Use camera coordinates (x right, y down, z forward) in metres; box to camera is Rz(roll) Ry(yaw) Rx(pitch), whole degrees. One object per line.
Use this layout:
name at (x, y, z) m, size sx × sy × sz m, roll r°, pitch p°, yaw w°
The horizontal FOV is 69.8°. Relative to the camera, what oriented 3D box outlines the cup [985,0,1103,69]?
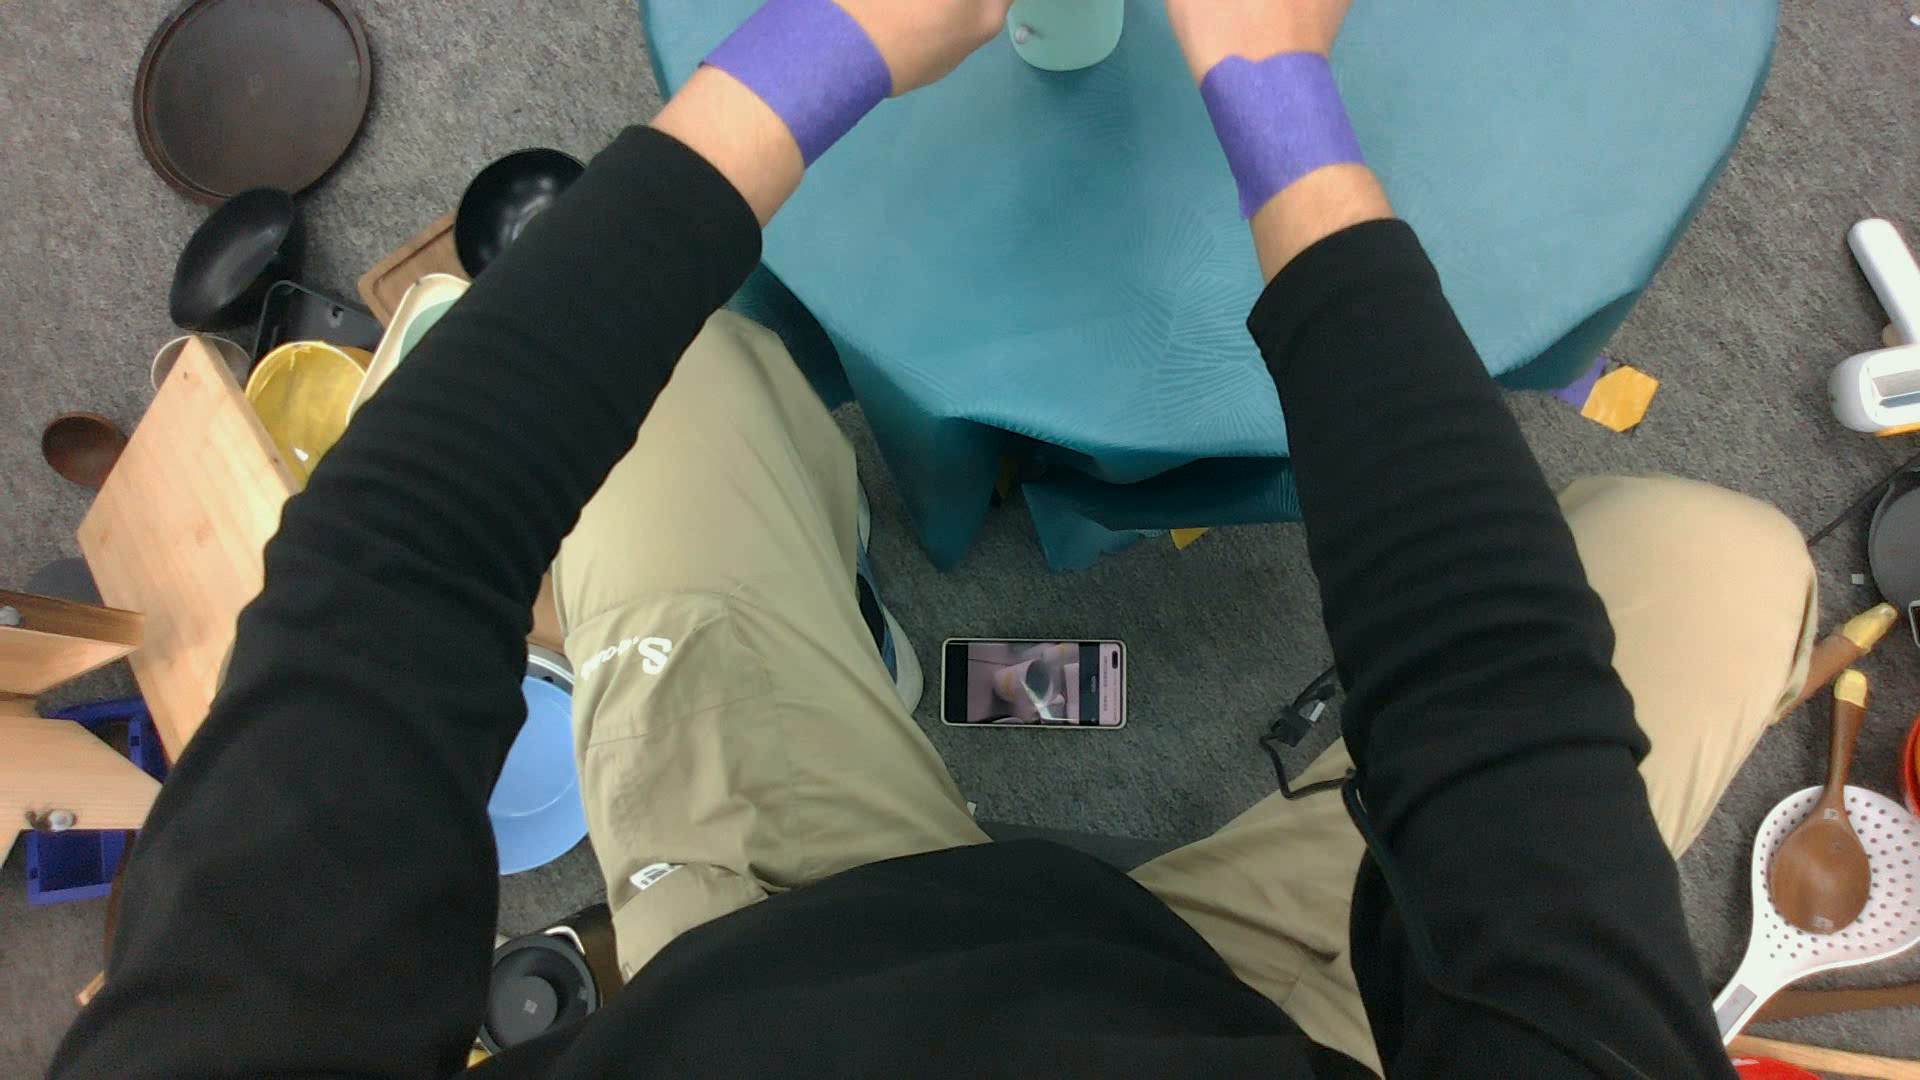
cup at (0.041, -0.286, 0.669) m, size 0.067 × 0.132 × 0.067 m, roll 0°, pitch 84°, yaw 4°
